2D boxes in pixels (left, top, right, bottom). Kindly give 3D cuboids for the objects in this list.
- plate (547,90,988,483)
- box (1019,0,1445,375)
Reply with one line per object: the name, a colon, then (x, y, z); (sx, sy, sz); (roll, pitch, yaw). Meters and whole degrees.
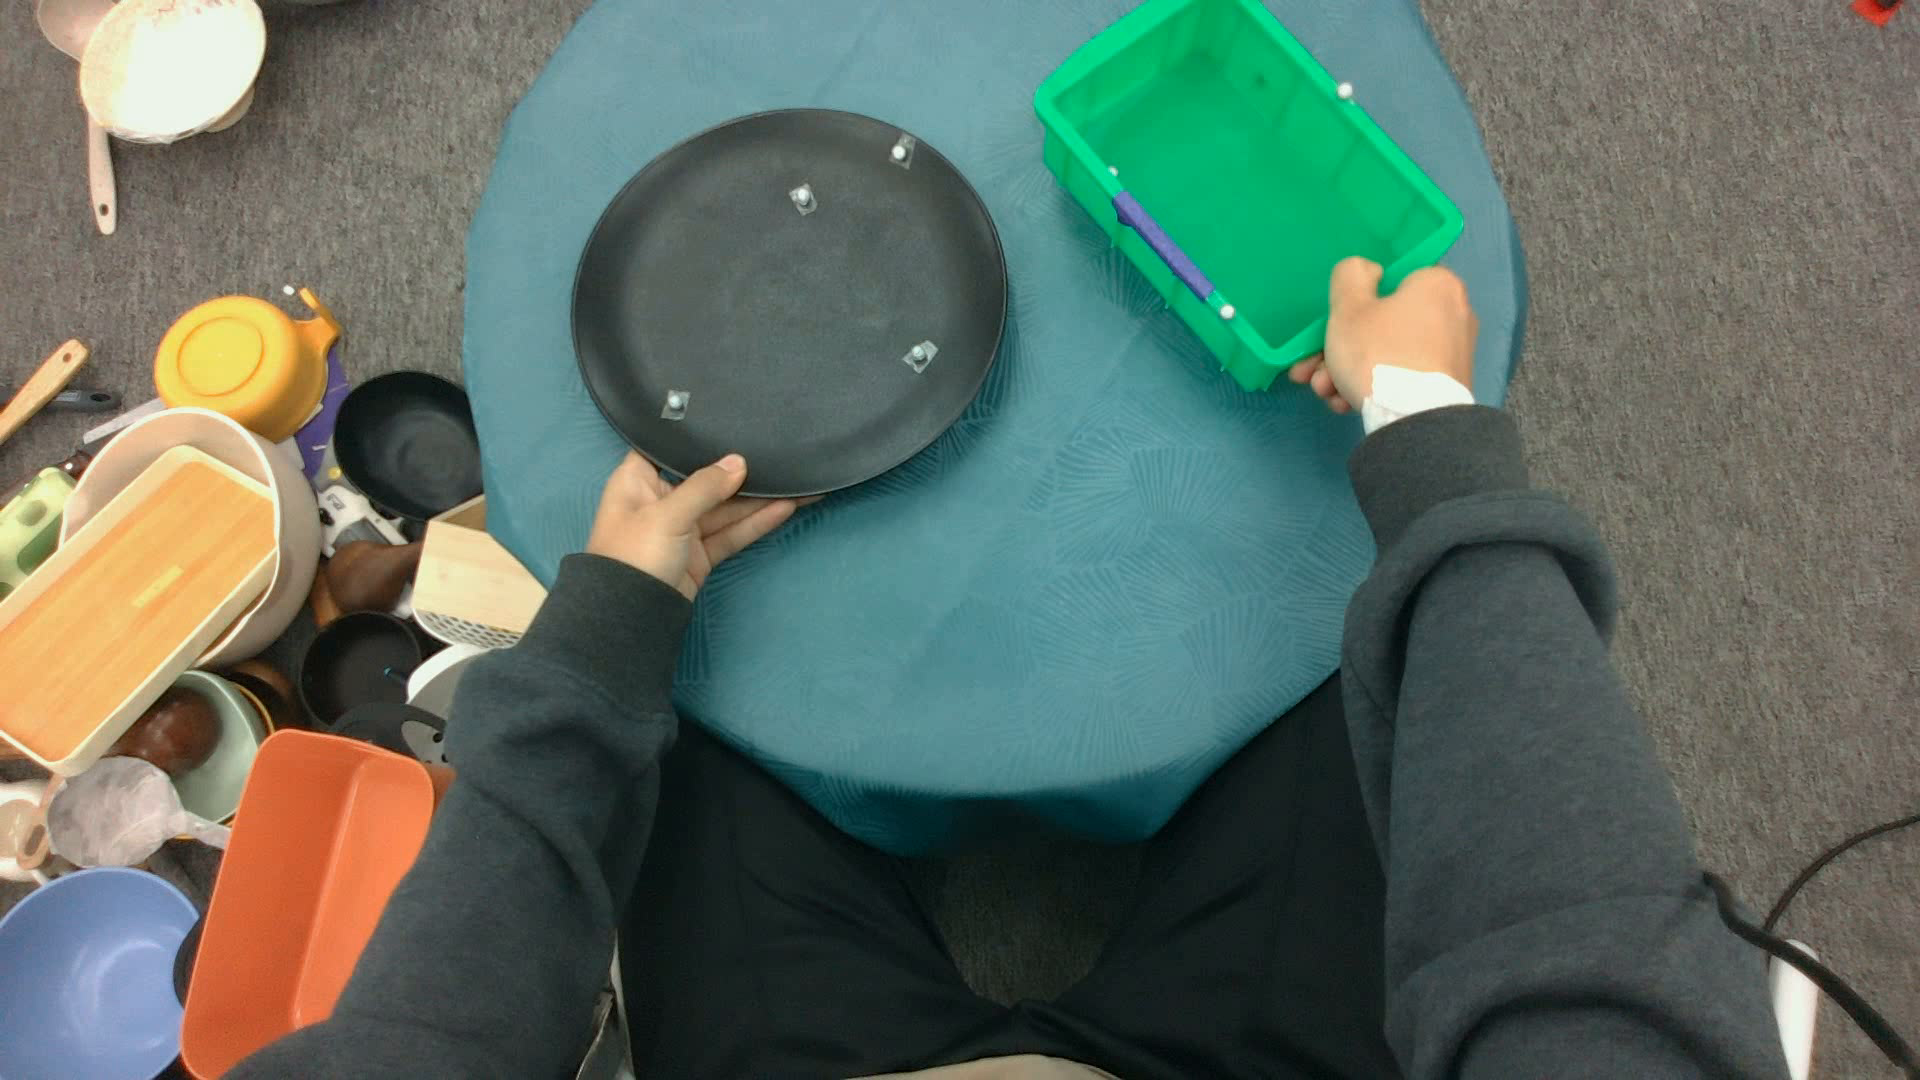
plate: (-0.105, -0.142, 0.767); (0.244, 0.023, 0.245); (0, 71, 1)
box: (0.141, -0.199, 0.749); (0.139, 0.065, 0.210); (-38, 81, -10)
